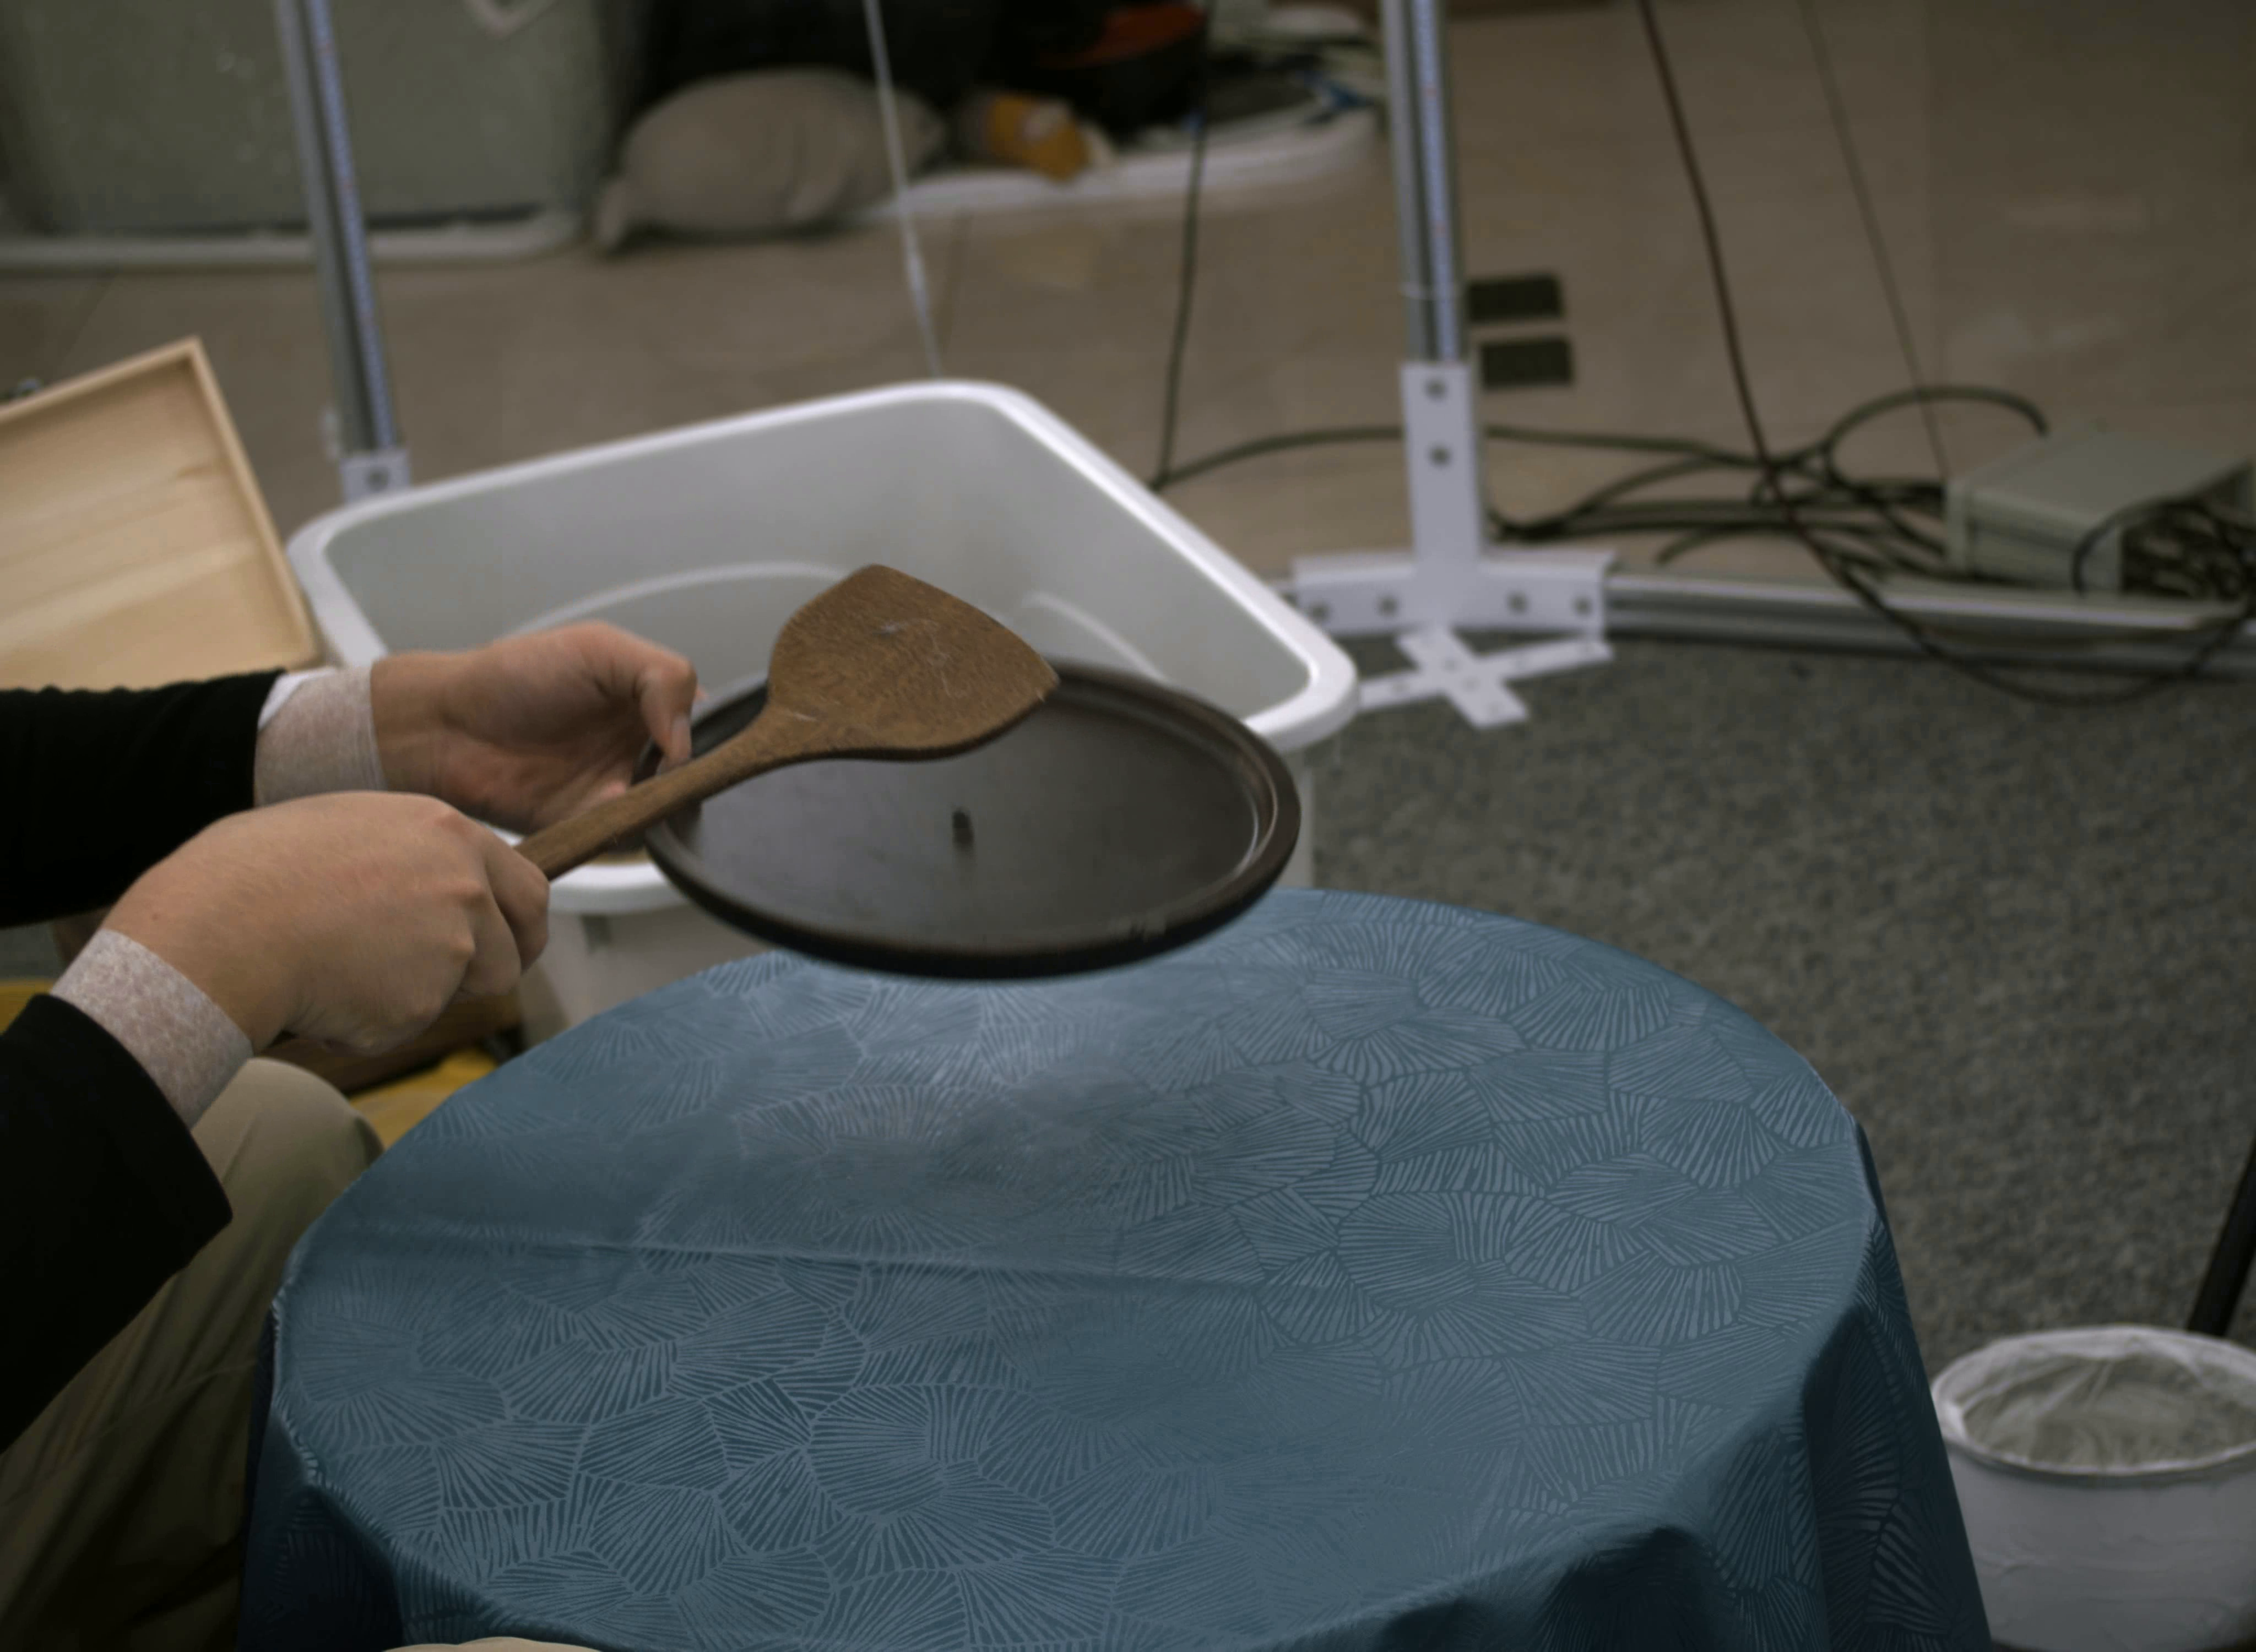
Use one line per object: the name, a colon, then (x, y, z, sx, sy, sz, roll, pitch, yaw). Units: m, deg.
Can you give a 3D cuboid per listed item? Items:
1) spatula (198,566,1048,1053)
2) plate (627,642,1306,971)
spatula: (-0.172, -0.005, 1.914, 0.095, 0.016, 0.382, 33, 39, 24)
plate: (-0.060, -0.010, 2.119, 0.254, 0.029, 0.251, 3, 28, -2)
